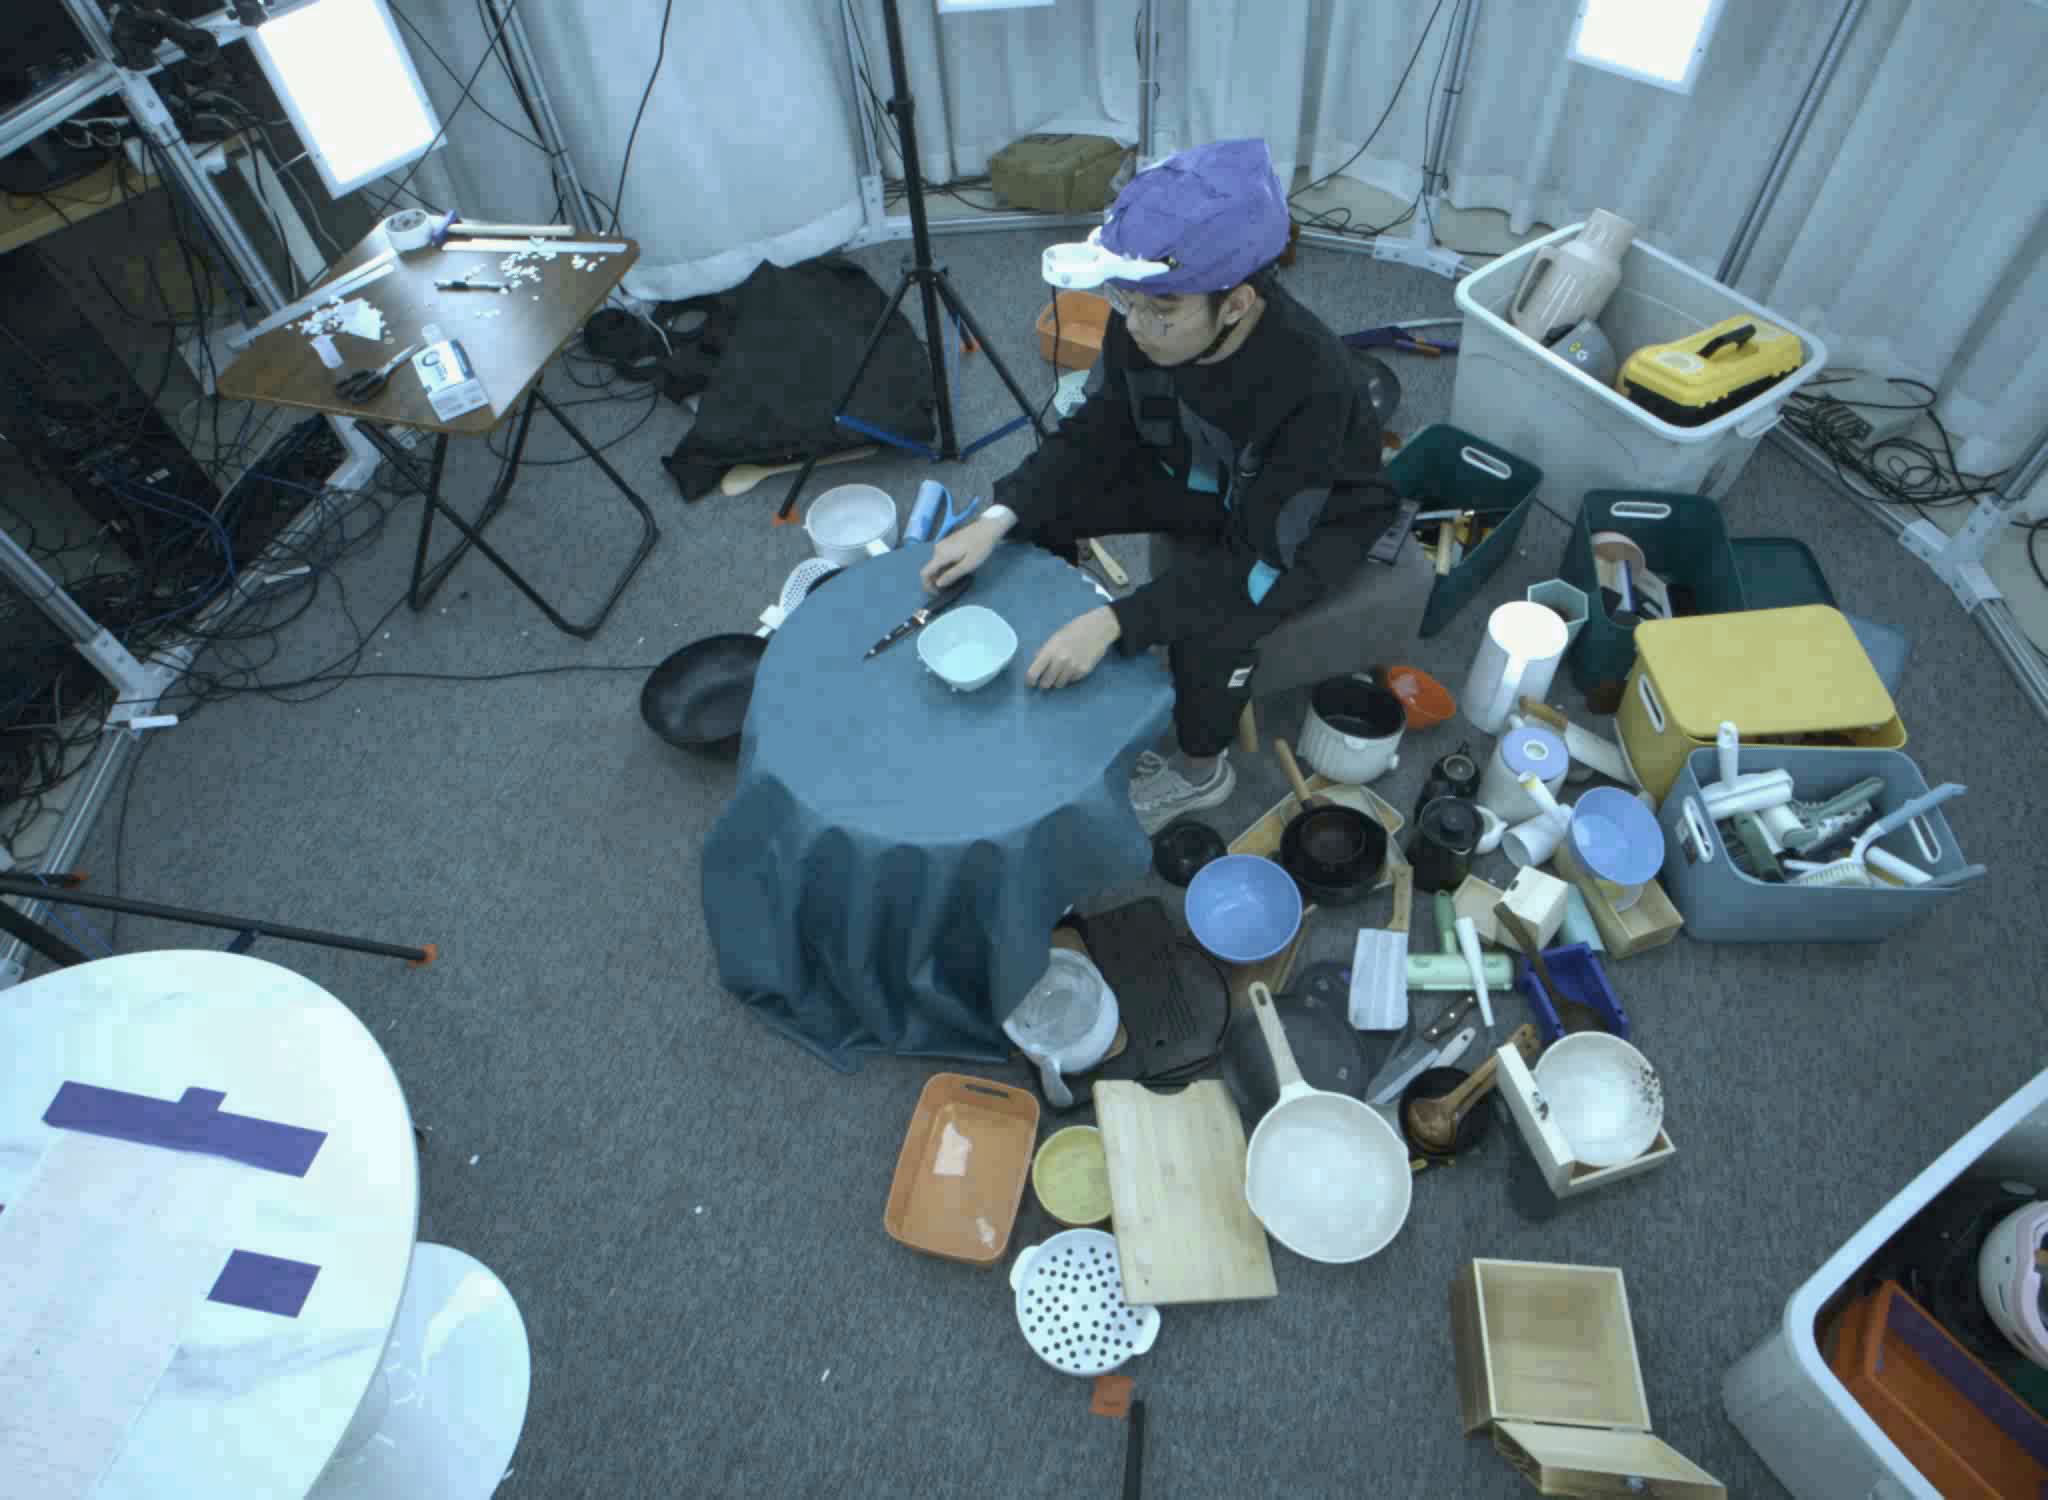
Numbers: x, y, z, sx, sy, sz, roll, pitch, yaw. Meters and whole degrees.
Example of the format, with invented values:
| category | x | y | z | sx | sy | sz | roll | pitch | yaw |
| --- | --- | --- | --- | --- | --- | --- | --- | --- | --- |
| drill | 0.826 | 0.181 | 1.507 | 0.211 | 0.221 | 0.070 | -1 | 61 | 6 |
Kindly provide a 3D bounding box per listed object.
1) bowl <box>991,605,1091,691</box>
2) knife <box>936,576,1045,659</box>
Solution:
| category | x | y | z | sx | sy | sz | roll | pitch | yaw |
| --- | --- | --- | --- | --- | --- | --- | --- | --- | --- |
| bowl | 0.027 | -0.144 | 1.854 | 0.151 | 0.059 | 0.150 | -1 | 54 | 3 |
| knife | -0.054 | -0.210 | 1.931 | 0.227 | 0.017 | 0.026 | -37 | 68 | -20 |
